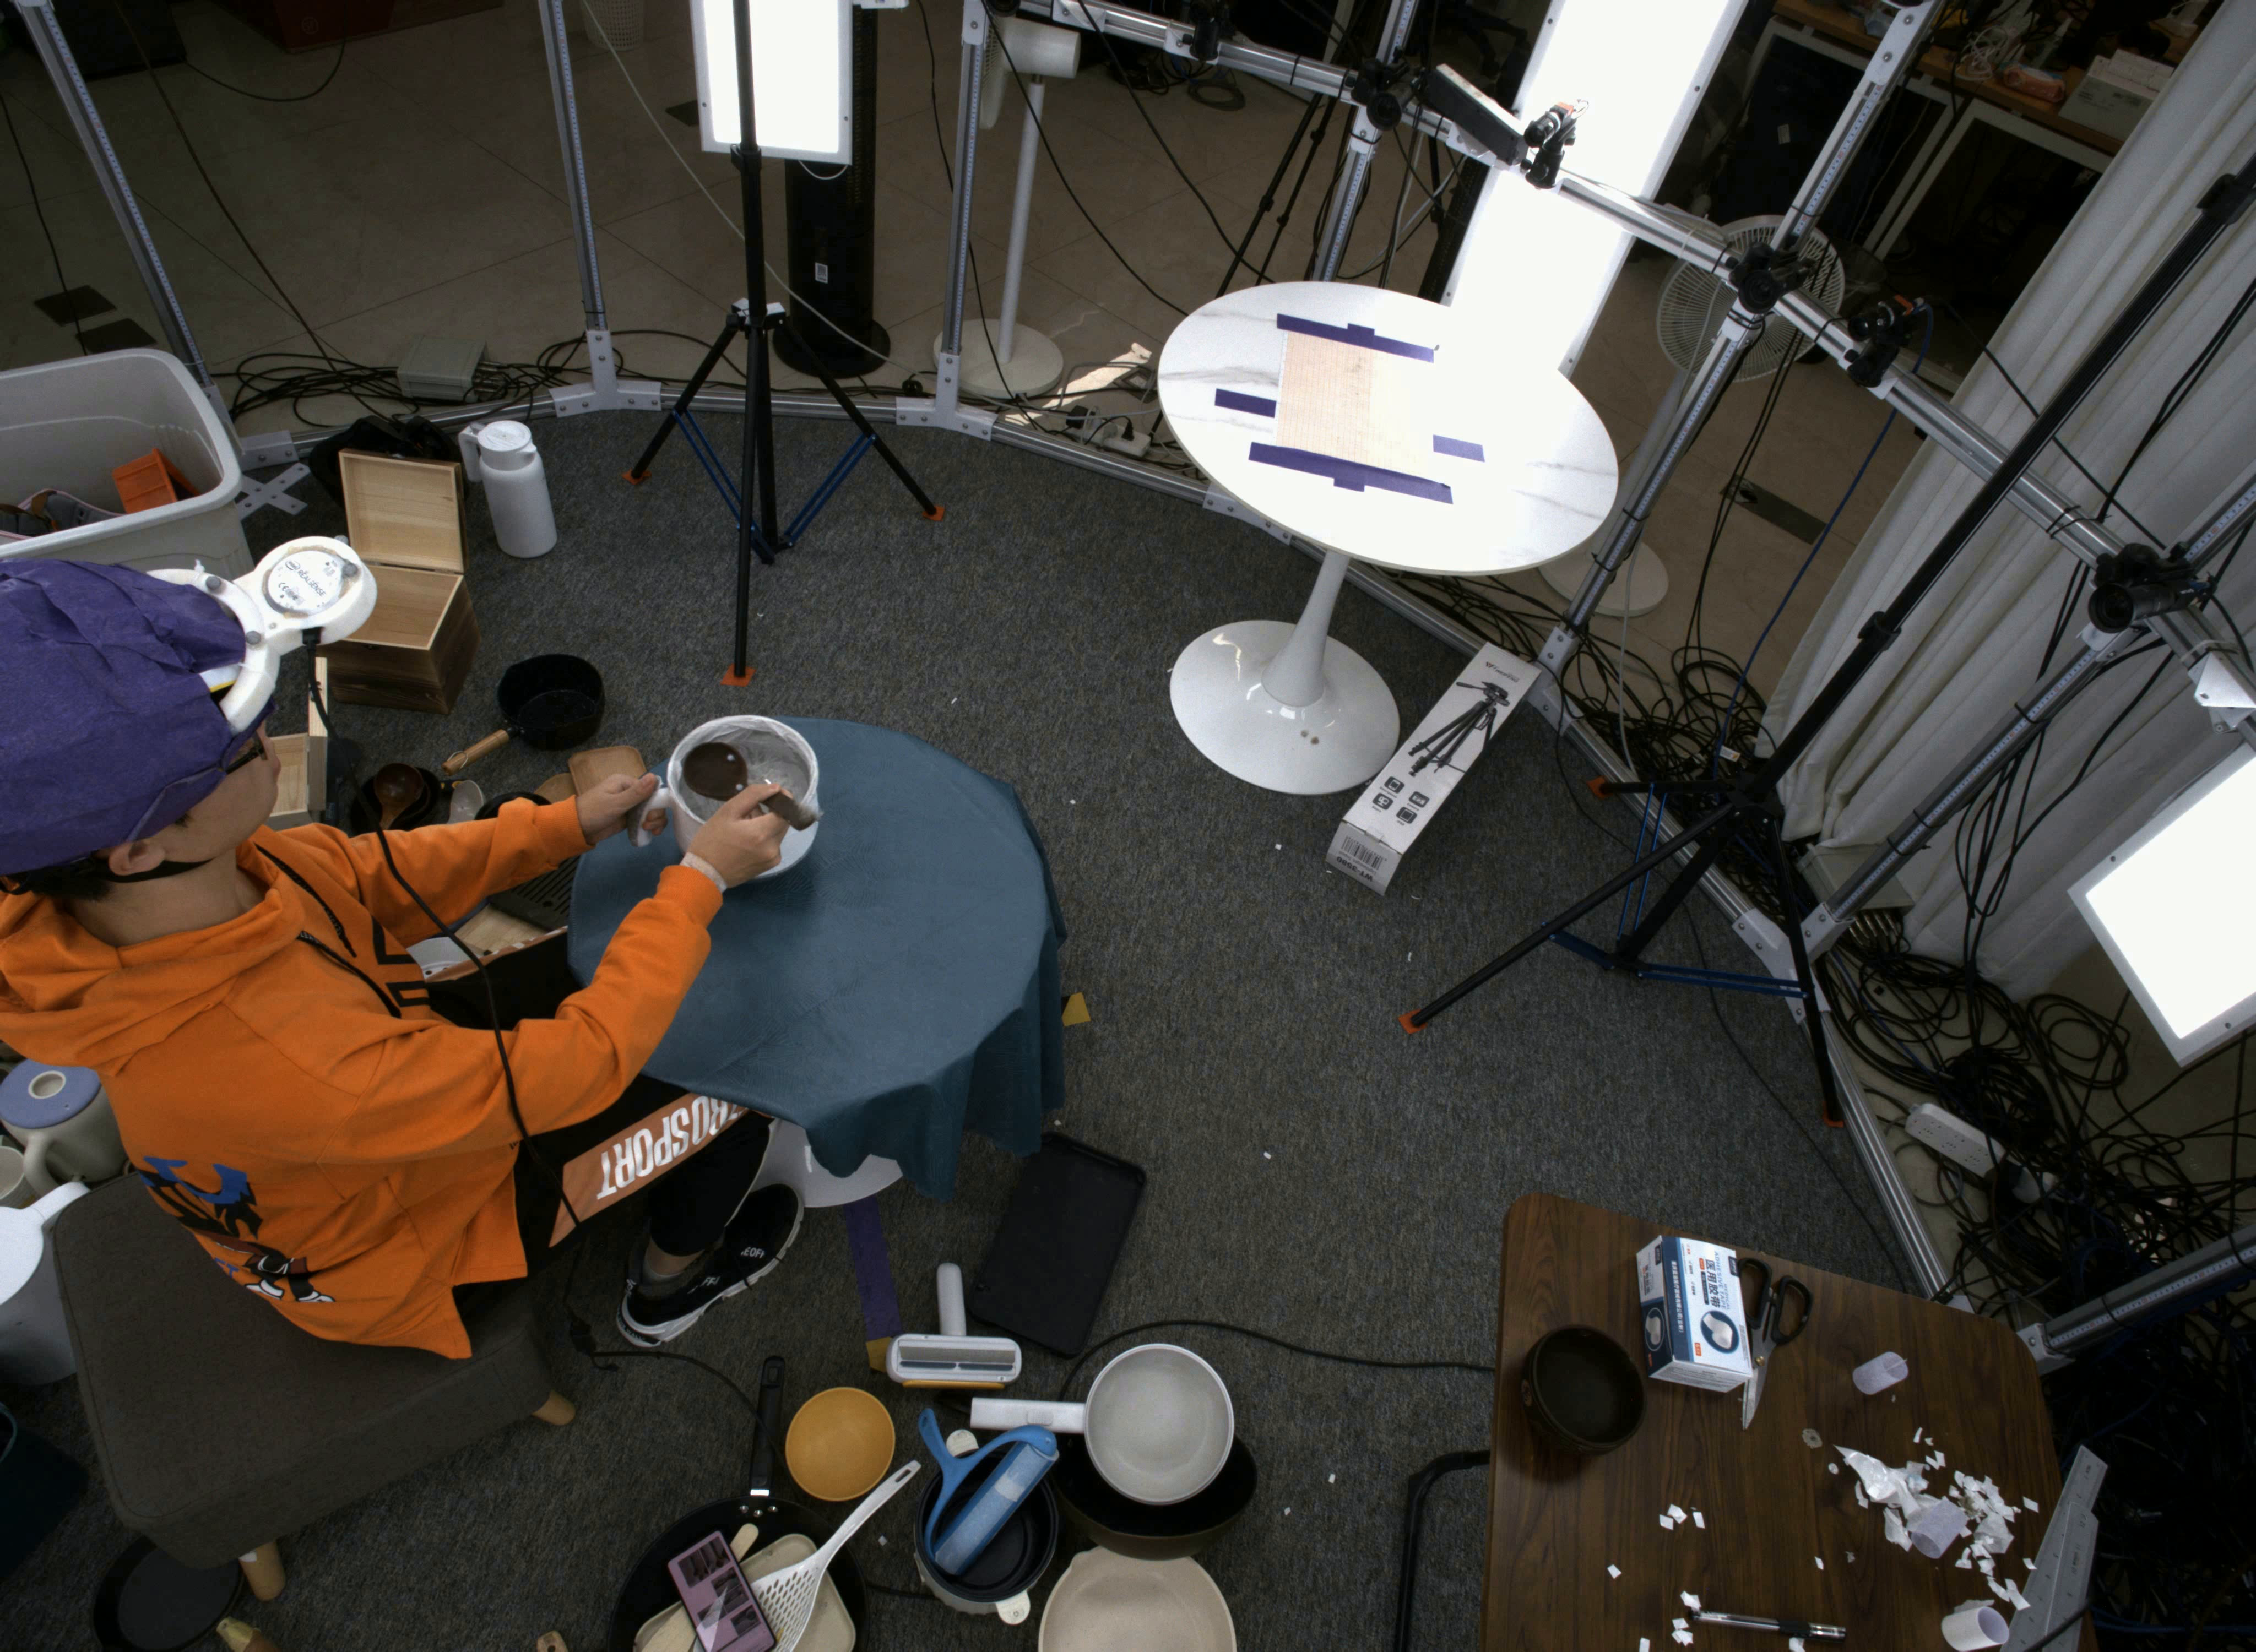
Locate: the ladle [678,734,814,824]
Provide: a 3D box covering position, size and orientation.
[{"bbox_3d":[-0.429,-0.056,1.440,0.076,0.074,0.264,-40,30,-25],"label":"ladle"}]

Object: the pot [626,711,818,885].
[{"bbox_3d":[-0.495,-0.027,1.571,0.235,0.139,0.174,-9,57,-21],"label":"pot"}]
